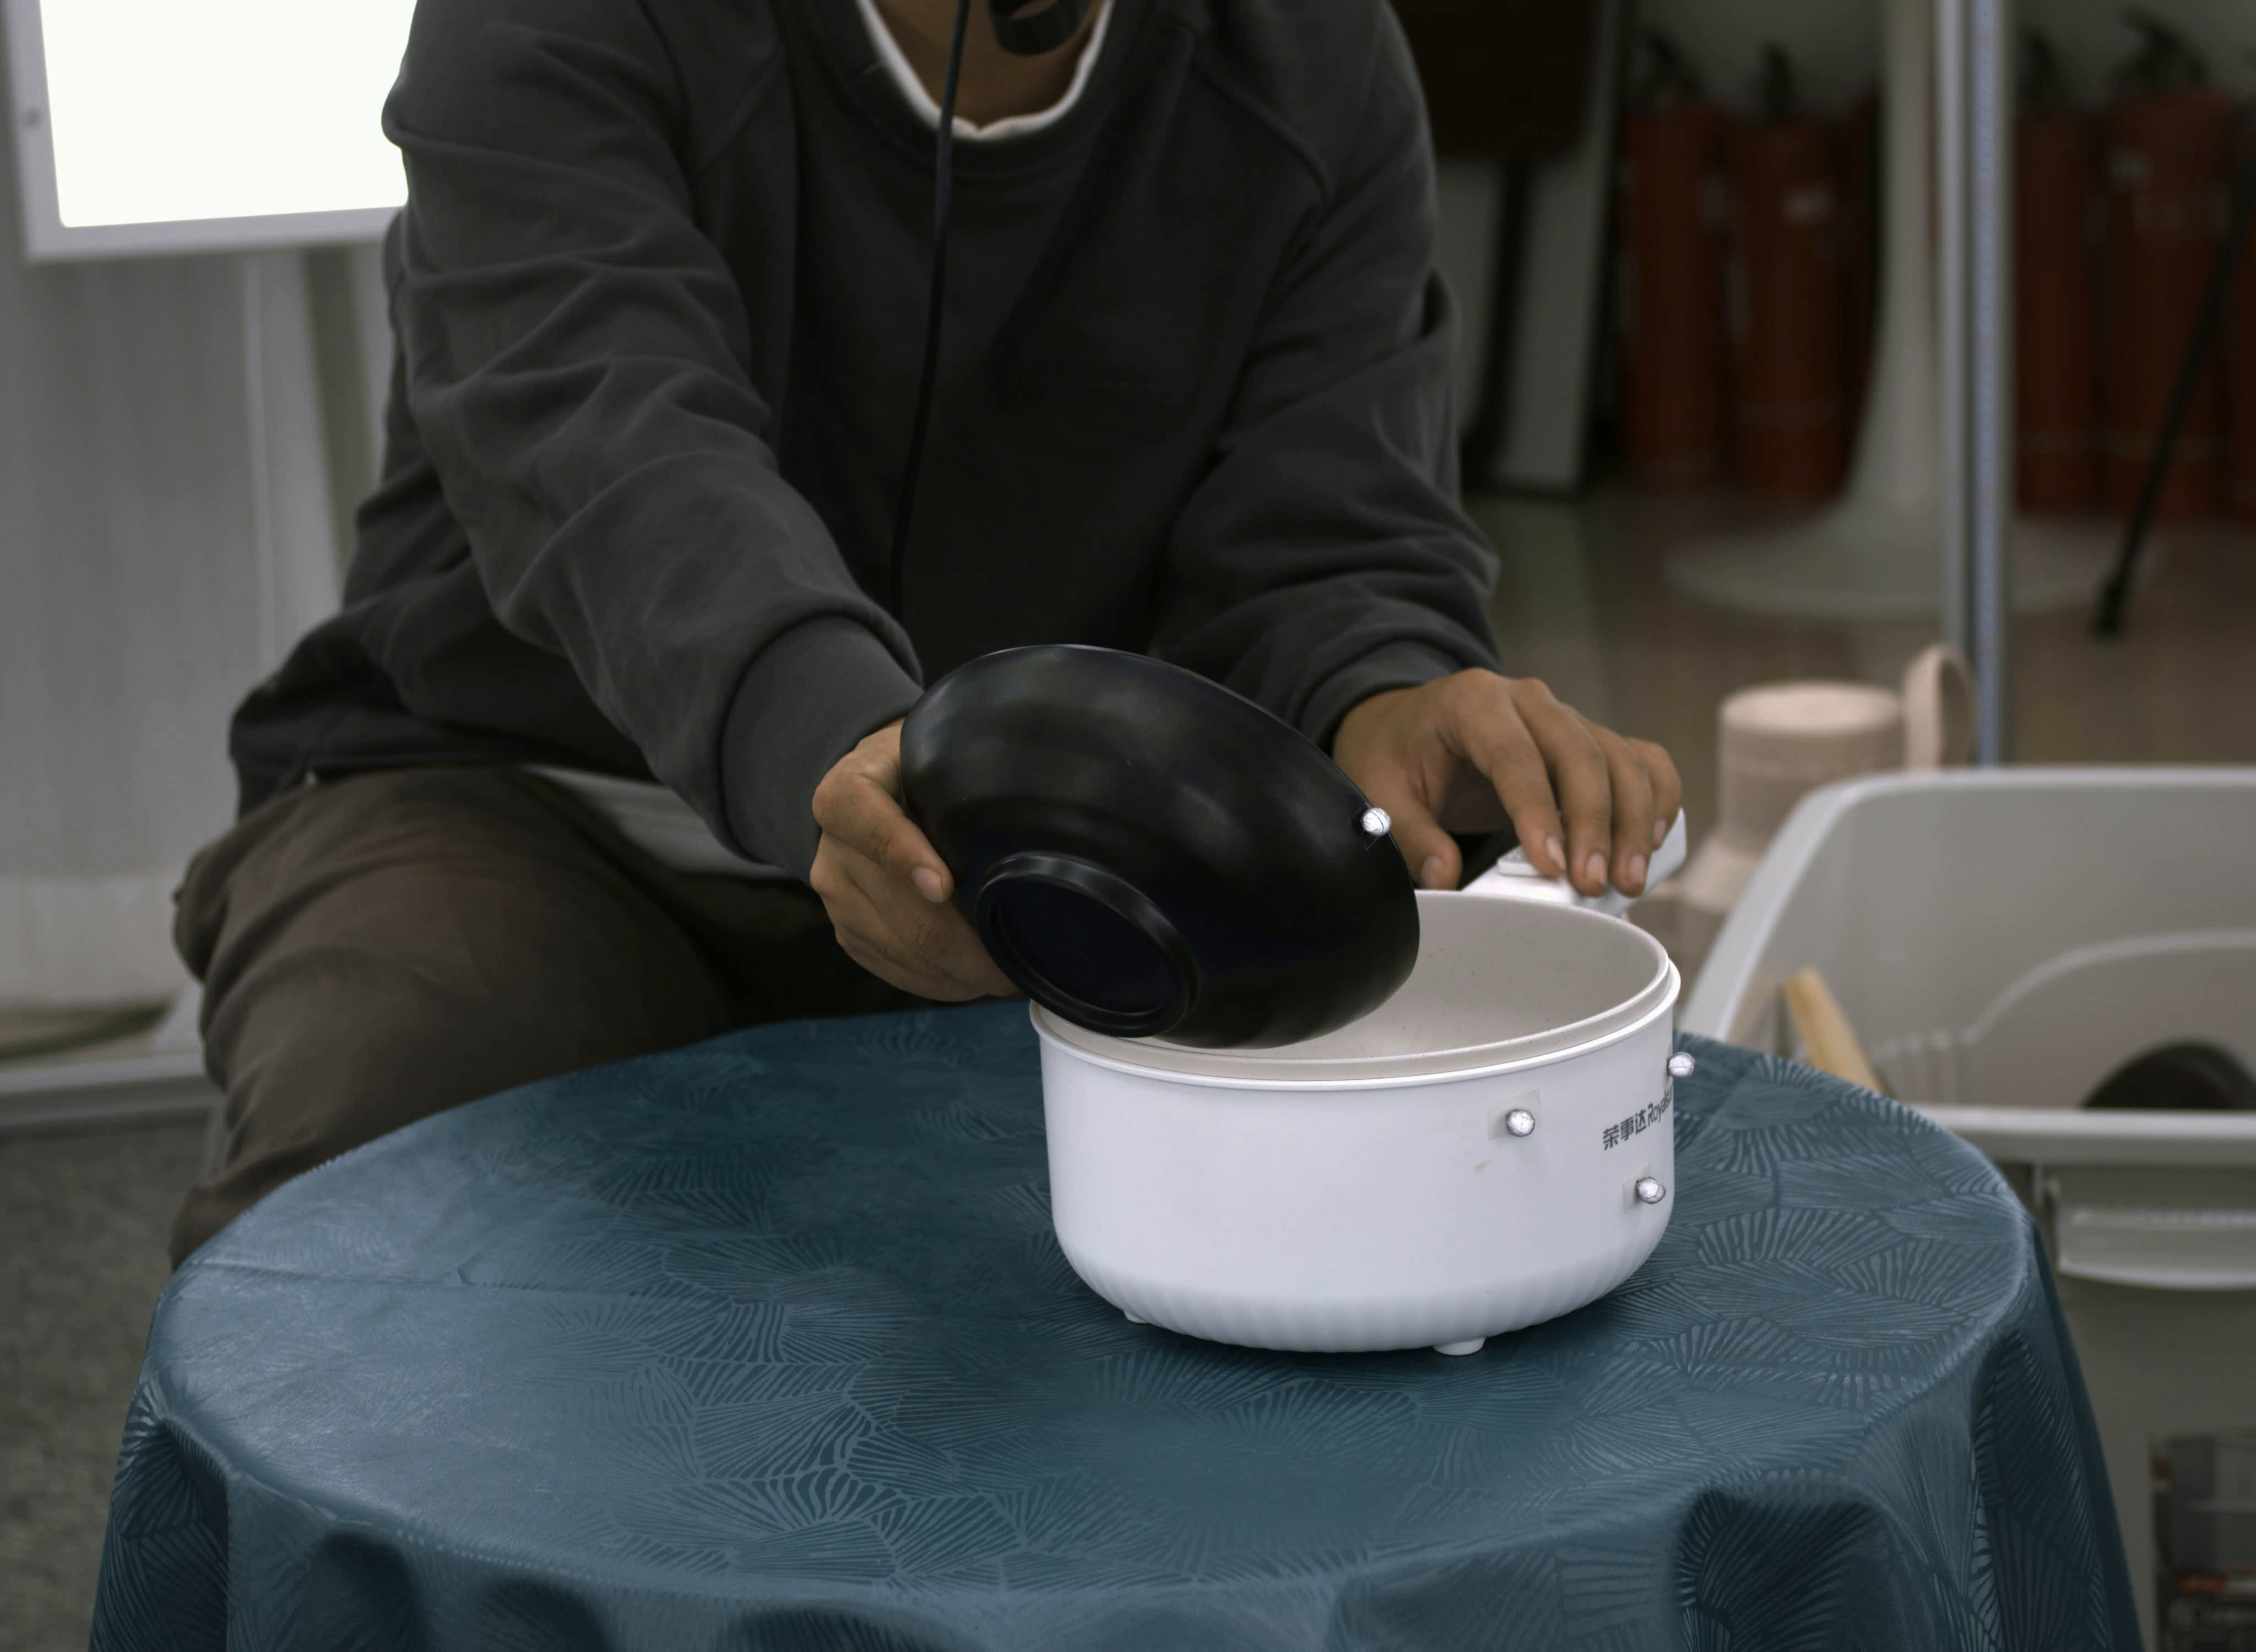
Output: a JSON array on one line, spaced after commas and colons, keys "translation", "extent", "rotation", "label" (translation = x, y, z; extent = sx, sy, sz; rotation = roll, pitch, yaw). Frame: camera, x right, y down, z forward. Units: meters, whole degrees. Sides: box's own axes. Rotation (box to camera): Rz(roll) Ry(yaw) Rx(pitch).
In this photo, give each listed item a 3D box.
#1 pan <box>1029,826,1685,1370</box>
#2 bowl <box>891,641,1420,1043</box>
[{"translation": [0.104, 0.083, 1.726], "extent": [0.201, 0.103, 0.350], "rotation": [-2, 11, 26], "label": "pan"}, {"translation": [0.000, 0.015, 1.588], "extent": [0.169, 0.138, 0.066], "rotation": [28, 55, 7], "label": "bowl"}]
